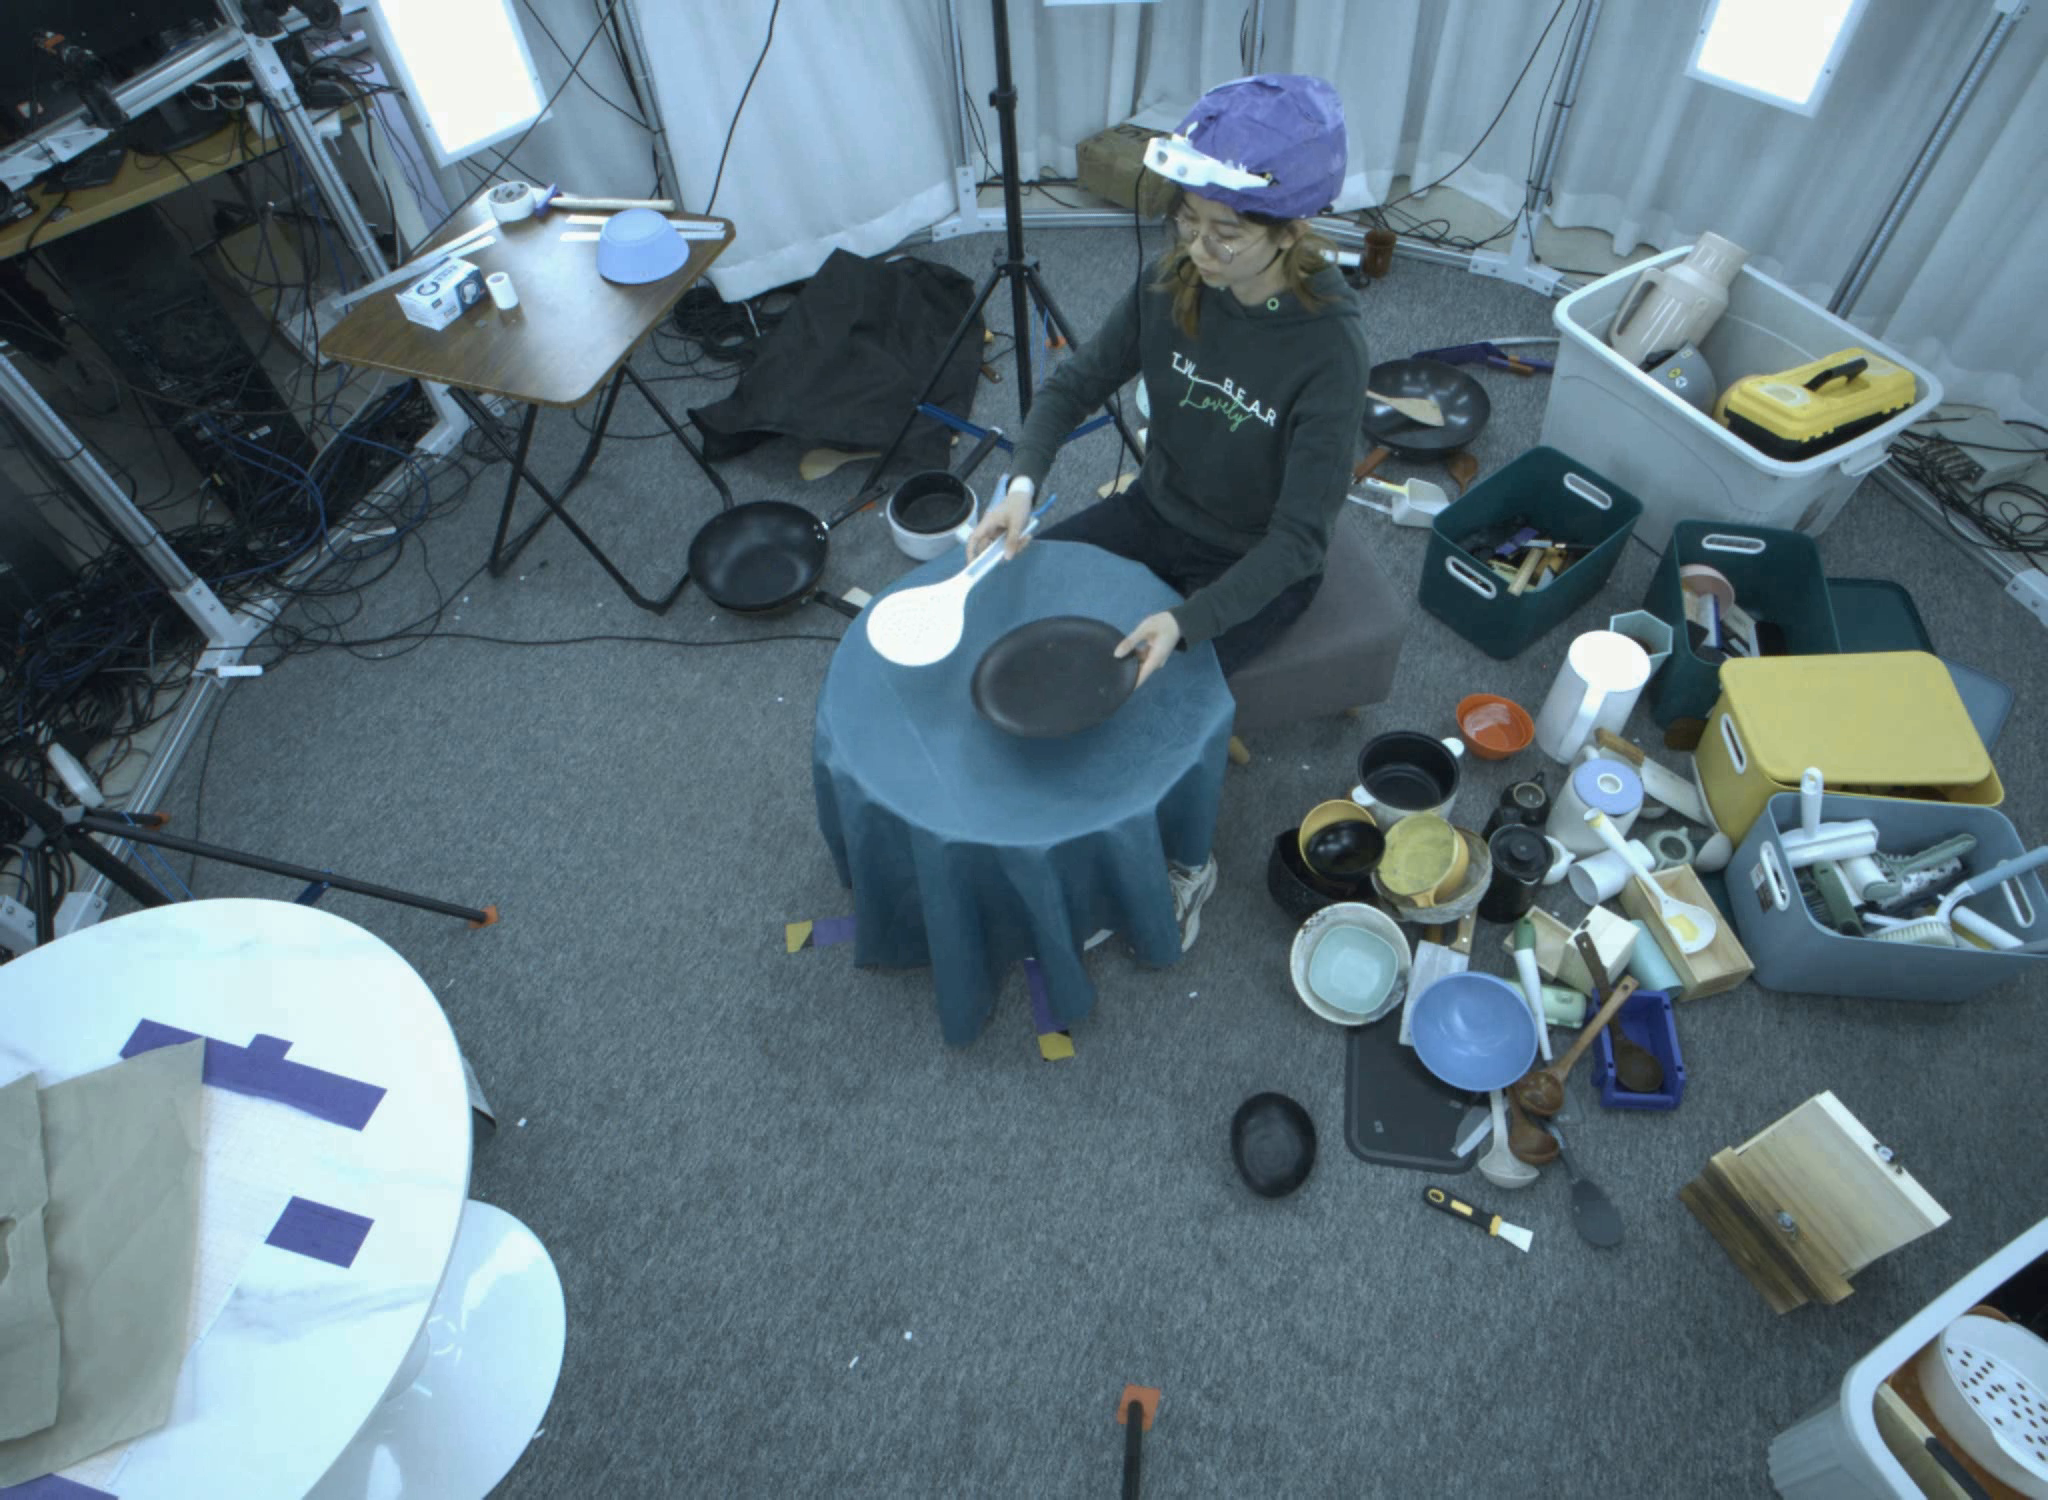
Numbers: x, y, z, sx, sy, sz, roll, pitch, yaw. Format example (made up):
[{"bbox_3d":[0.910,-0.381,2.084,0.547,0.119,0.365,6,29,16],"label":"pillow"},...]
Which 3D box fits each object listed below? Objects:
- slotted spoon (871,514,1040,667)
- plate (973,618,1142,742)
[{"bbox_3d":[-0.090,-0.245,1.833,0.134,0.046,0.351,35,67,13],"label":"slotted spoon"},{"bbox_3d":[0.048,-0.097,1.760,0.243,0.024,0.242,-5,49,7],"label":"plate"}]
